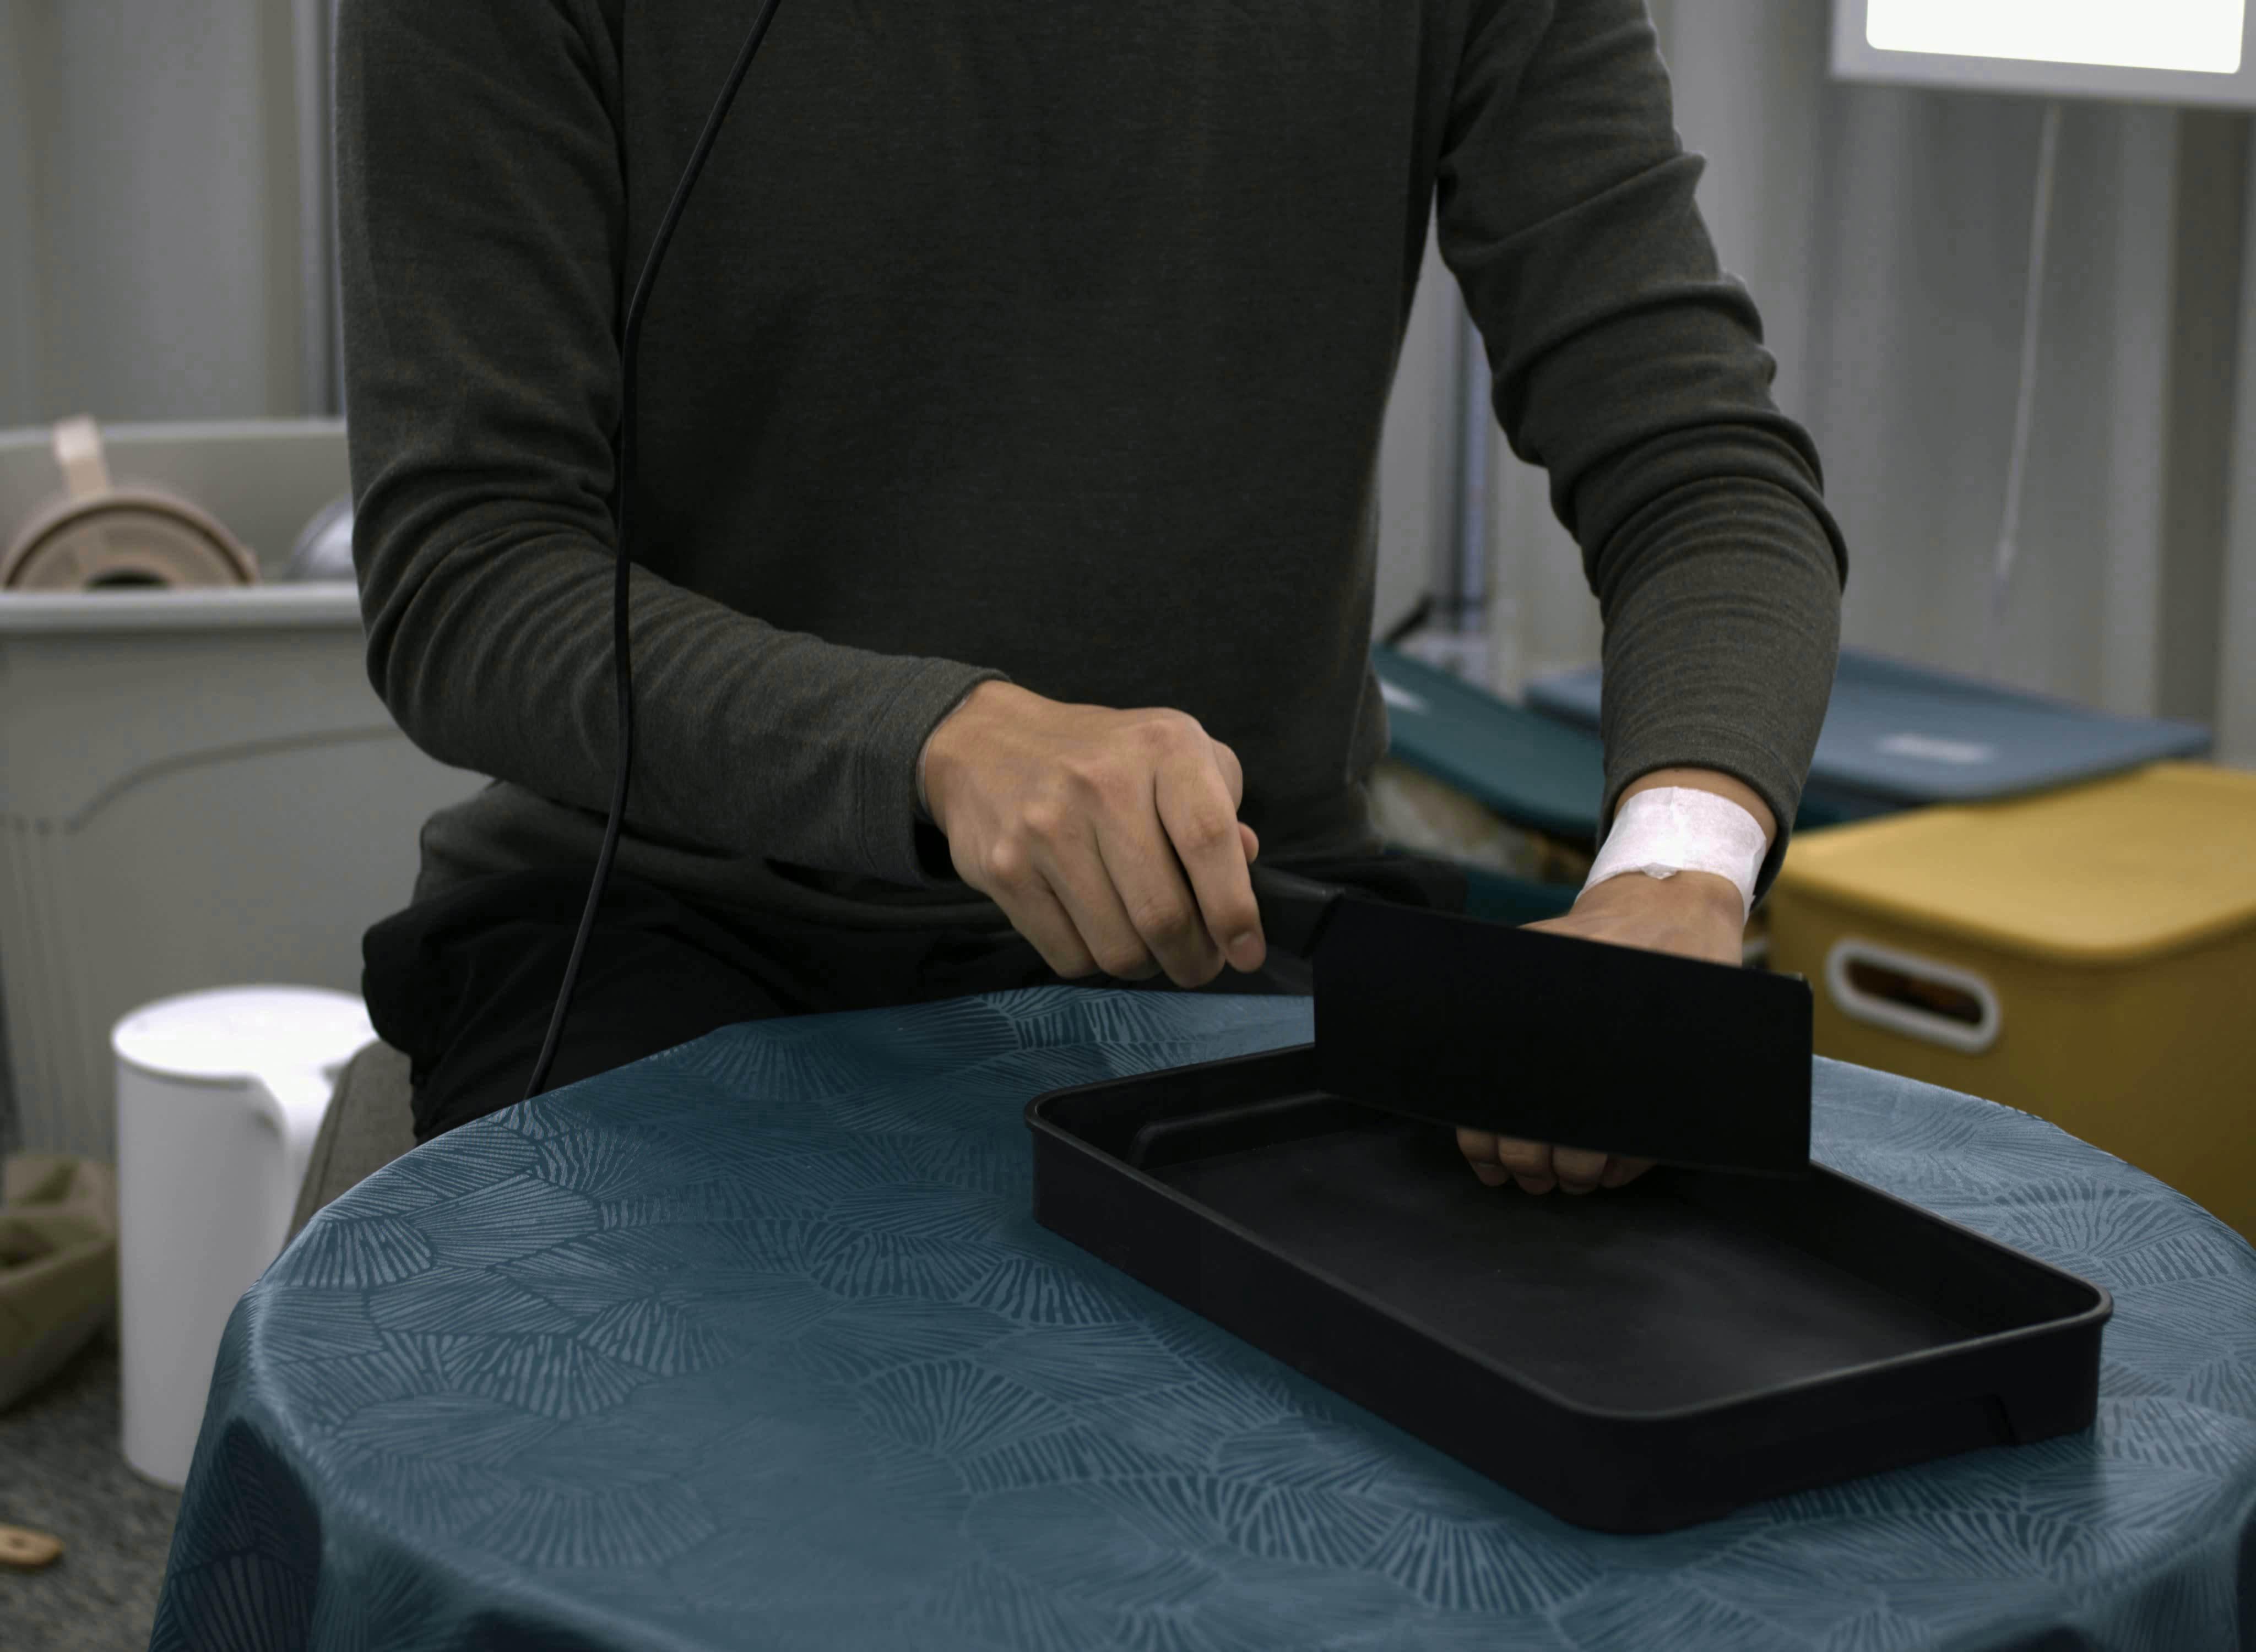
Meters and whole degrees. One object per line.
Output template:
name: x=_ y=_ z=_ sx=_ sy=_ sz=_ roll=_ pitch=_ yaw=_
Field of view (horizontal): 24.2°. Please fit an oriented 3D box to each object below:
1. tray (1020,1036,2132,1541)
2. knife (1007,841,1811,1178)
tray: x=0.121 y=0.123 z=1.520 sx=0.185 sy=0.037 sz=0.314 roll=-9 pitch=18 yaw=-32
knife: x=0.081 y=0.051 z=1.605 sx=0.298 sy=0.081 sz=0.021 roll=15 pitch=21 yaw=36
